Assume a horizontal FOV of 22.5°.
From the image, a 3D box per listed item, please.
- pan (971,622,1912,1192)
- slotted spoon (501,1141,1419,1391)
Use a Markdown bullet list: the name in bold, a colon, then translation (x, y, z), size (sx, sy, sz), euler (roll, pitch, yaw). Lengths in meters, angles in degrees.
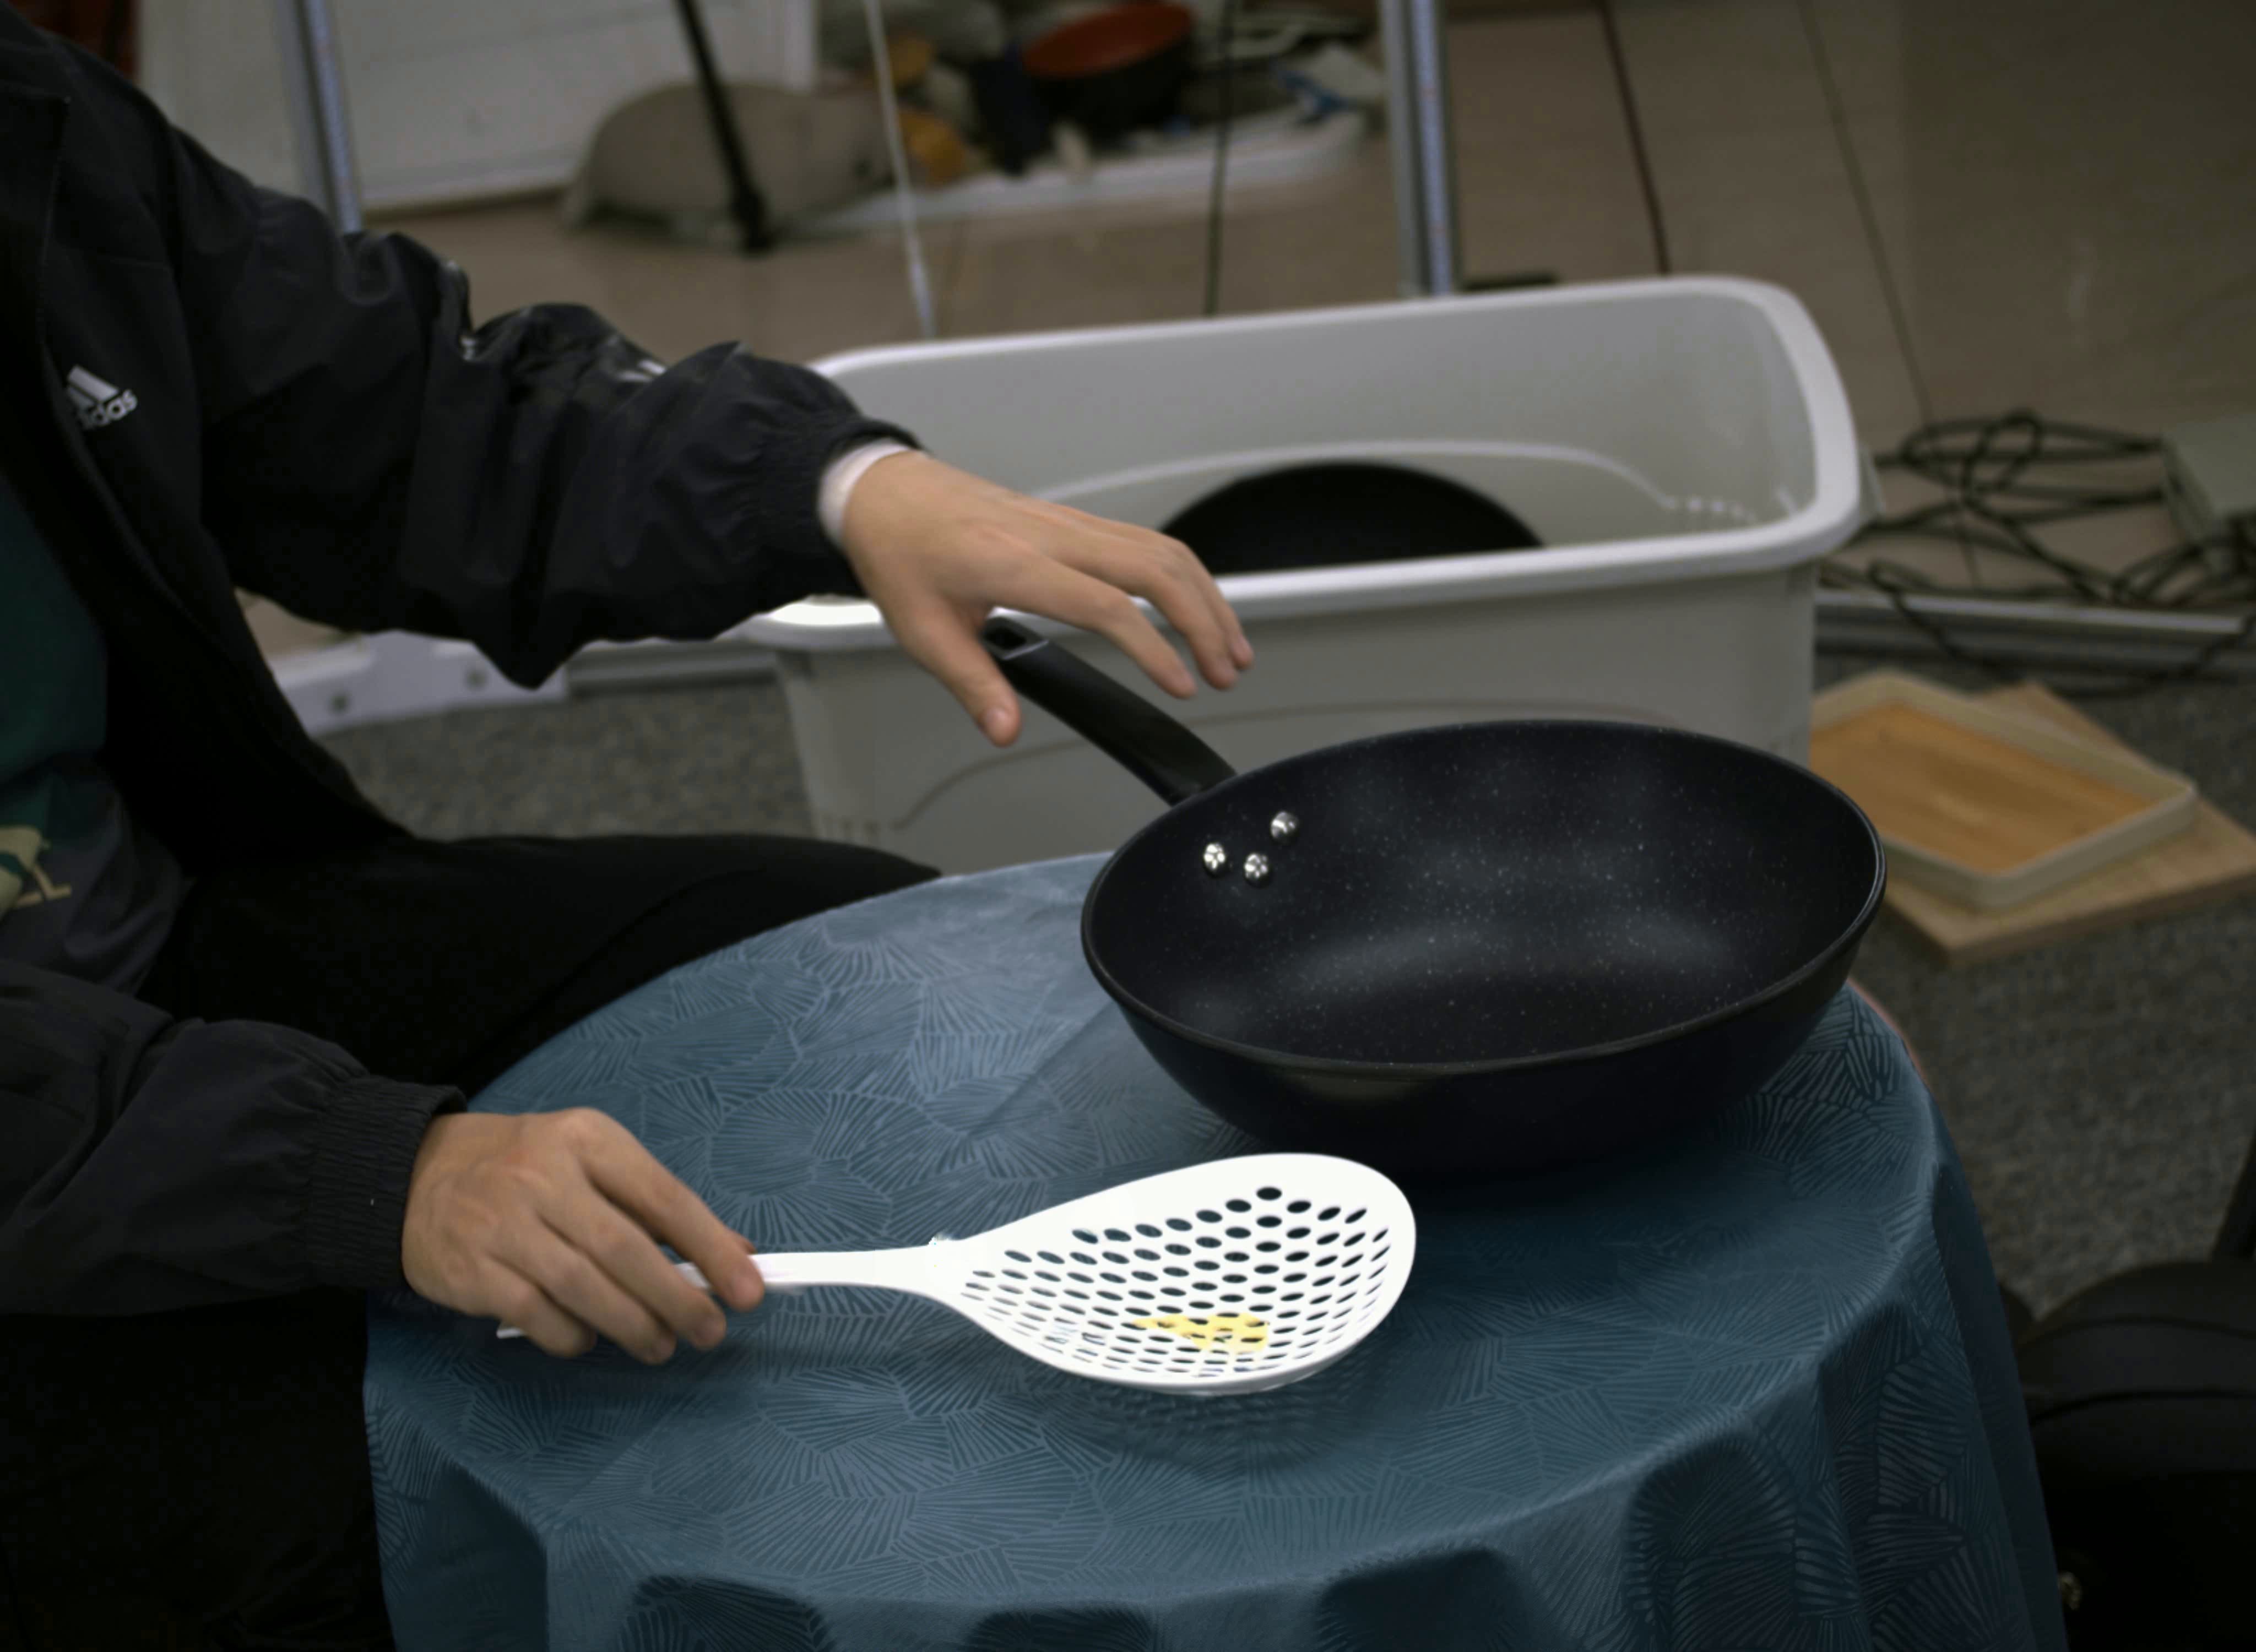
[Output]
- **pan**: translation (0.092, 0.030, 2.233), size (0.308, 0.113, 0.472), euler (-22, 30, -33)
- **slotted spoon**: translation (-0.065, 0.169, 2.047), size (0.347, 0.051, 0.134), euler (0, 33, 15)
